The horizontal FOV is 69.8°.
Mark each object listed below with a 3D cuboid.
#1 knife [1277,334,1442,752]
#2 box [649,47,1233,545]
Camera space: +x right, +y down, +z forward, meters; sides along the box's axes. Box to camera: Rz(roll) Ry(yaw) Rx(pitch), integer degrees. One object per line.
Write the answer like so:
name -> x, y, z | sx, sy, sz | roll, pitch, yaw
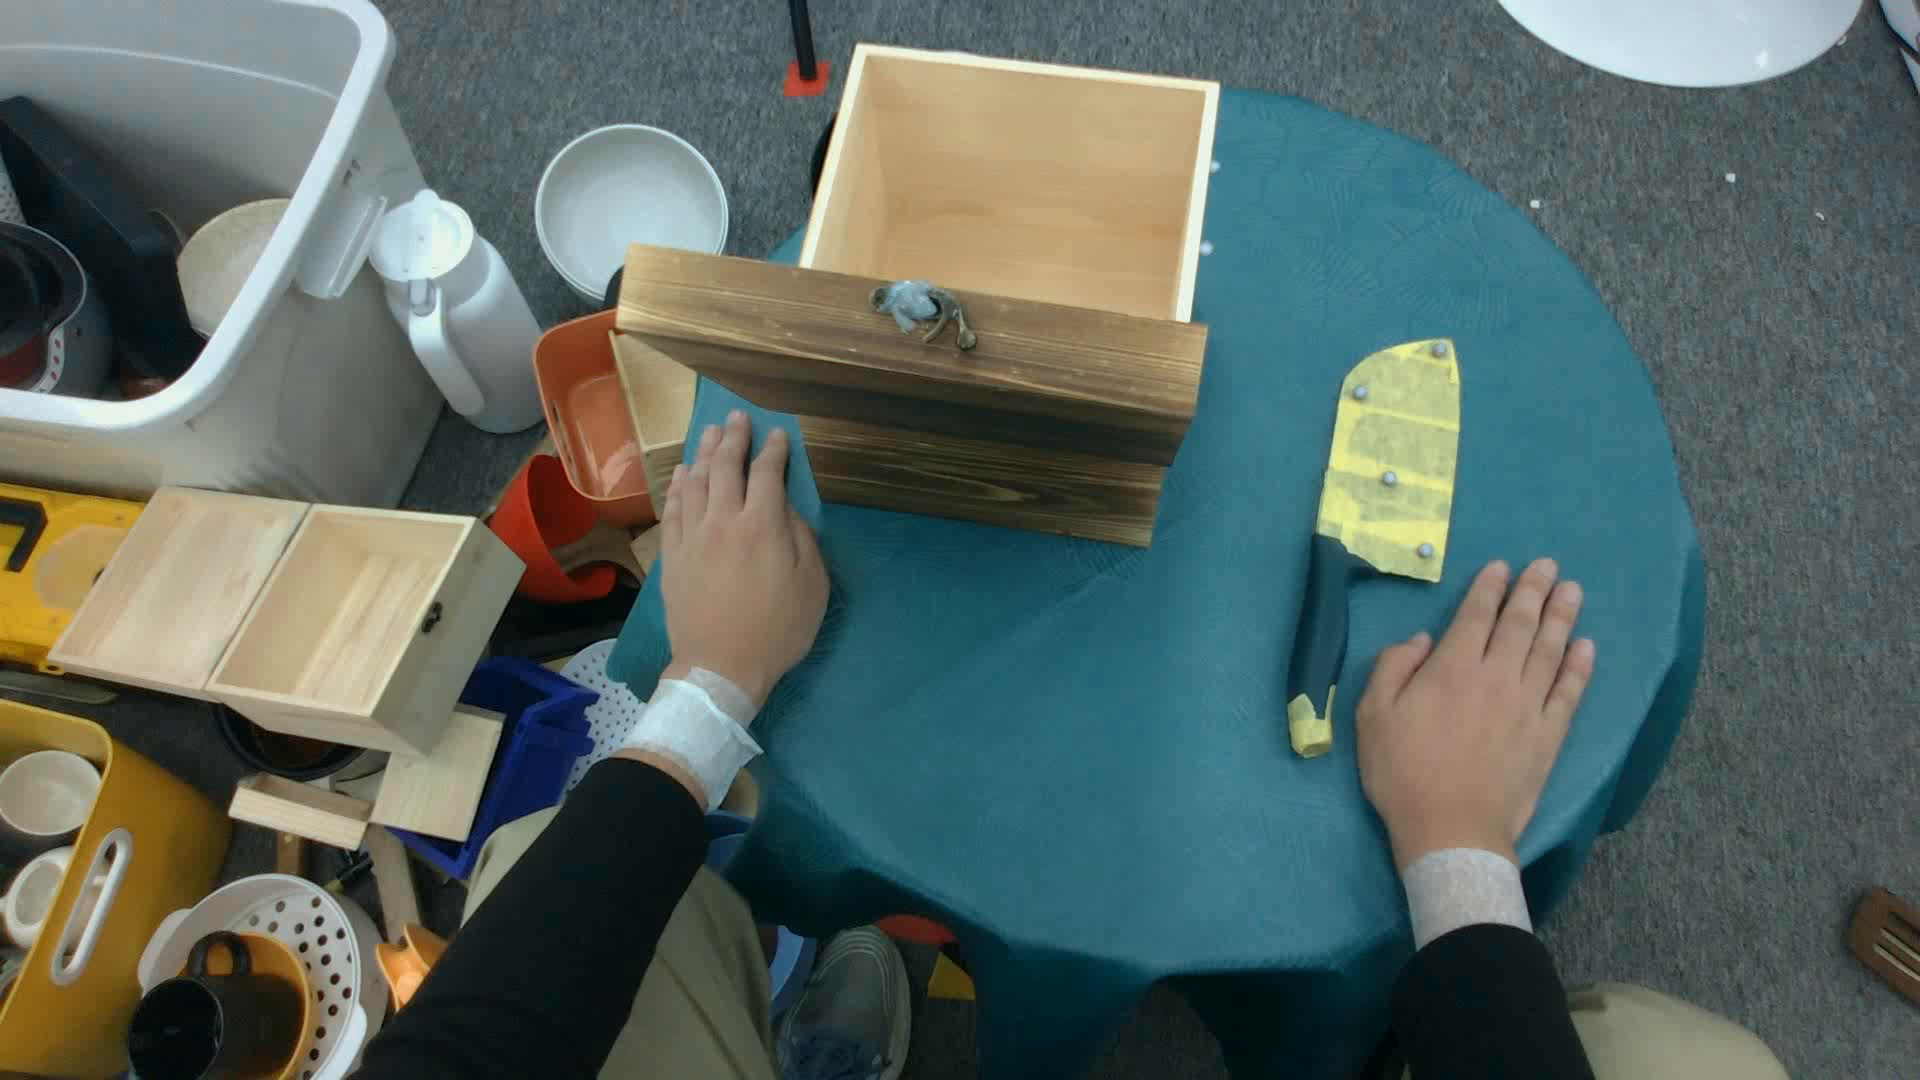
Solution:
knife -> 0.236, -0.007, 0.806 | 0.081, 0.027, 0.290 | 15, 64, 11
box -> 0.013, -0.131, 0.683 | 0.208, 0.374, 0.323 | 8, 65, 5
